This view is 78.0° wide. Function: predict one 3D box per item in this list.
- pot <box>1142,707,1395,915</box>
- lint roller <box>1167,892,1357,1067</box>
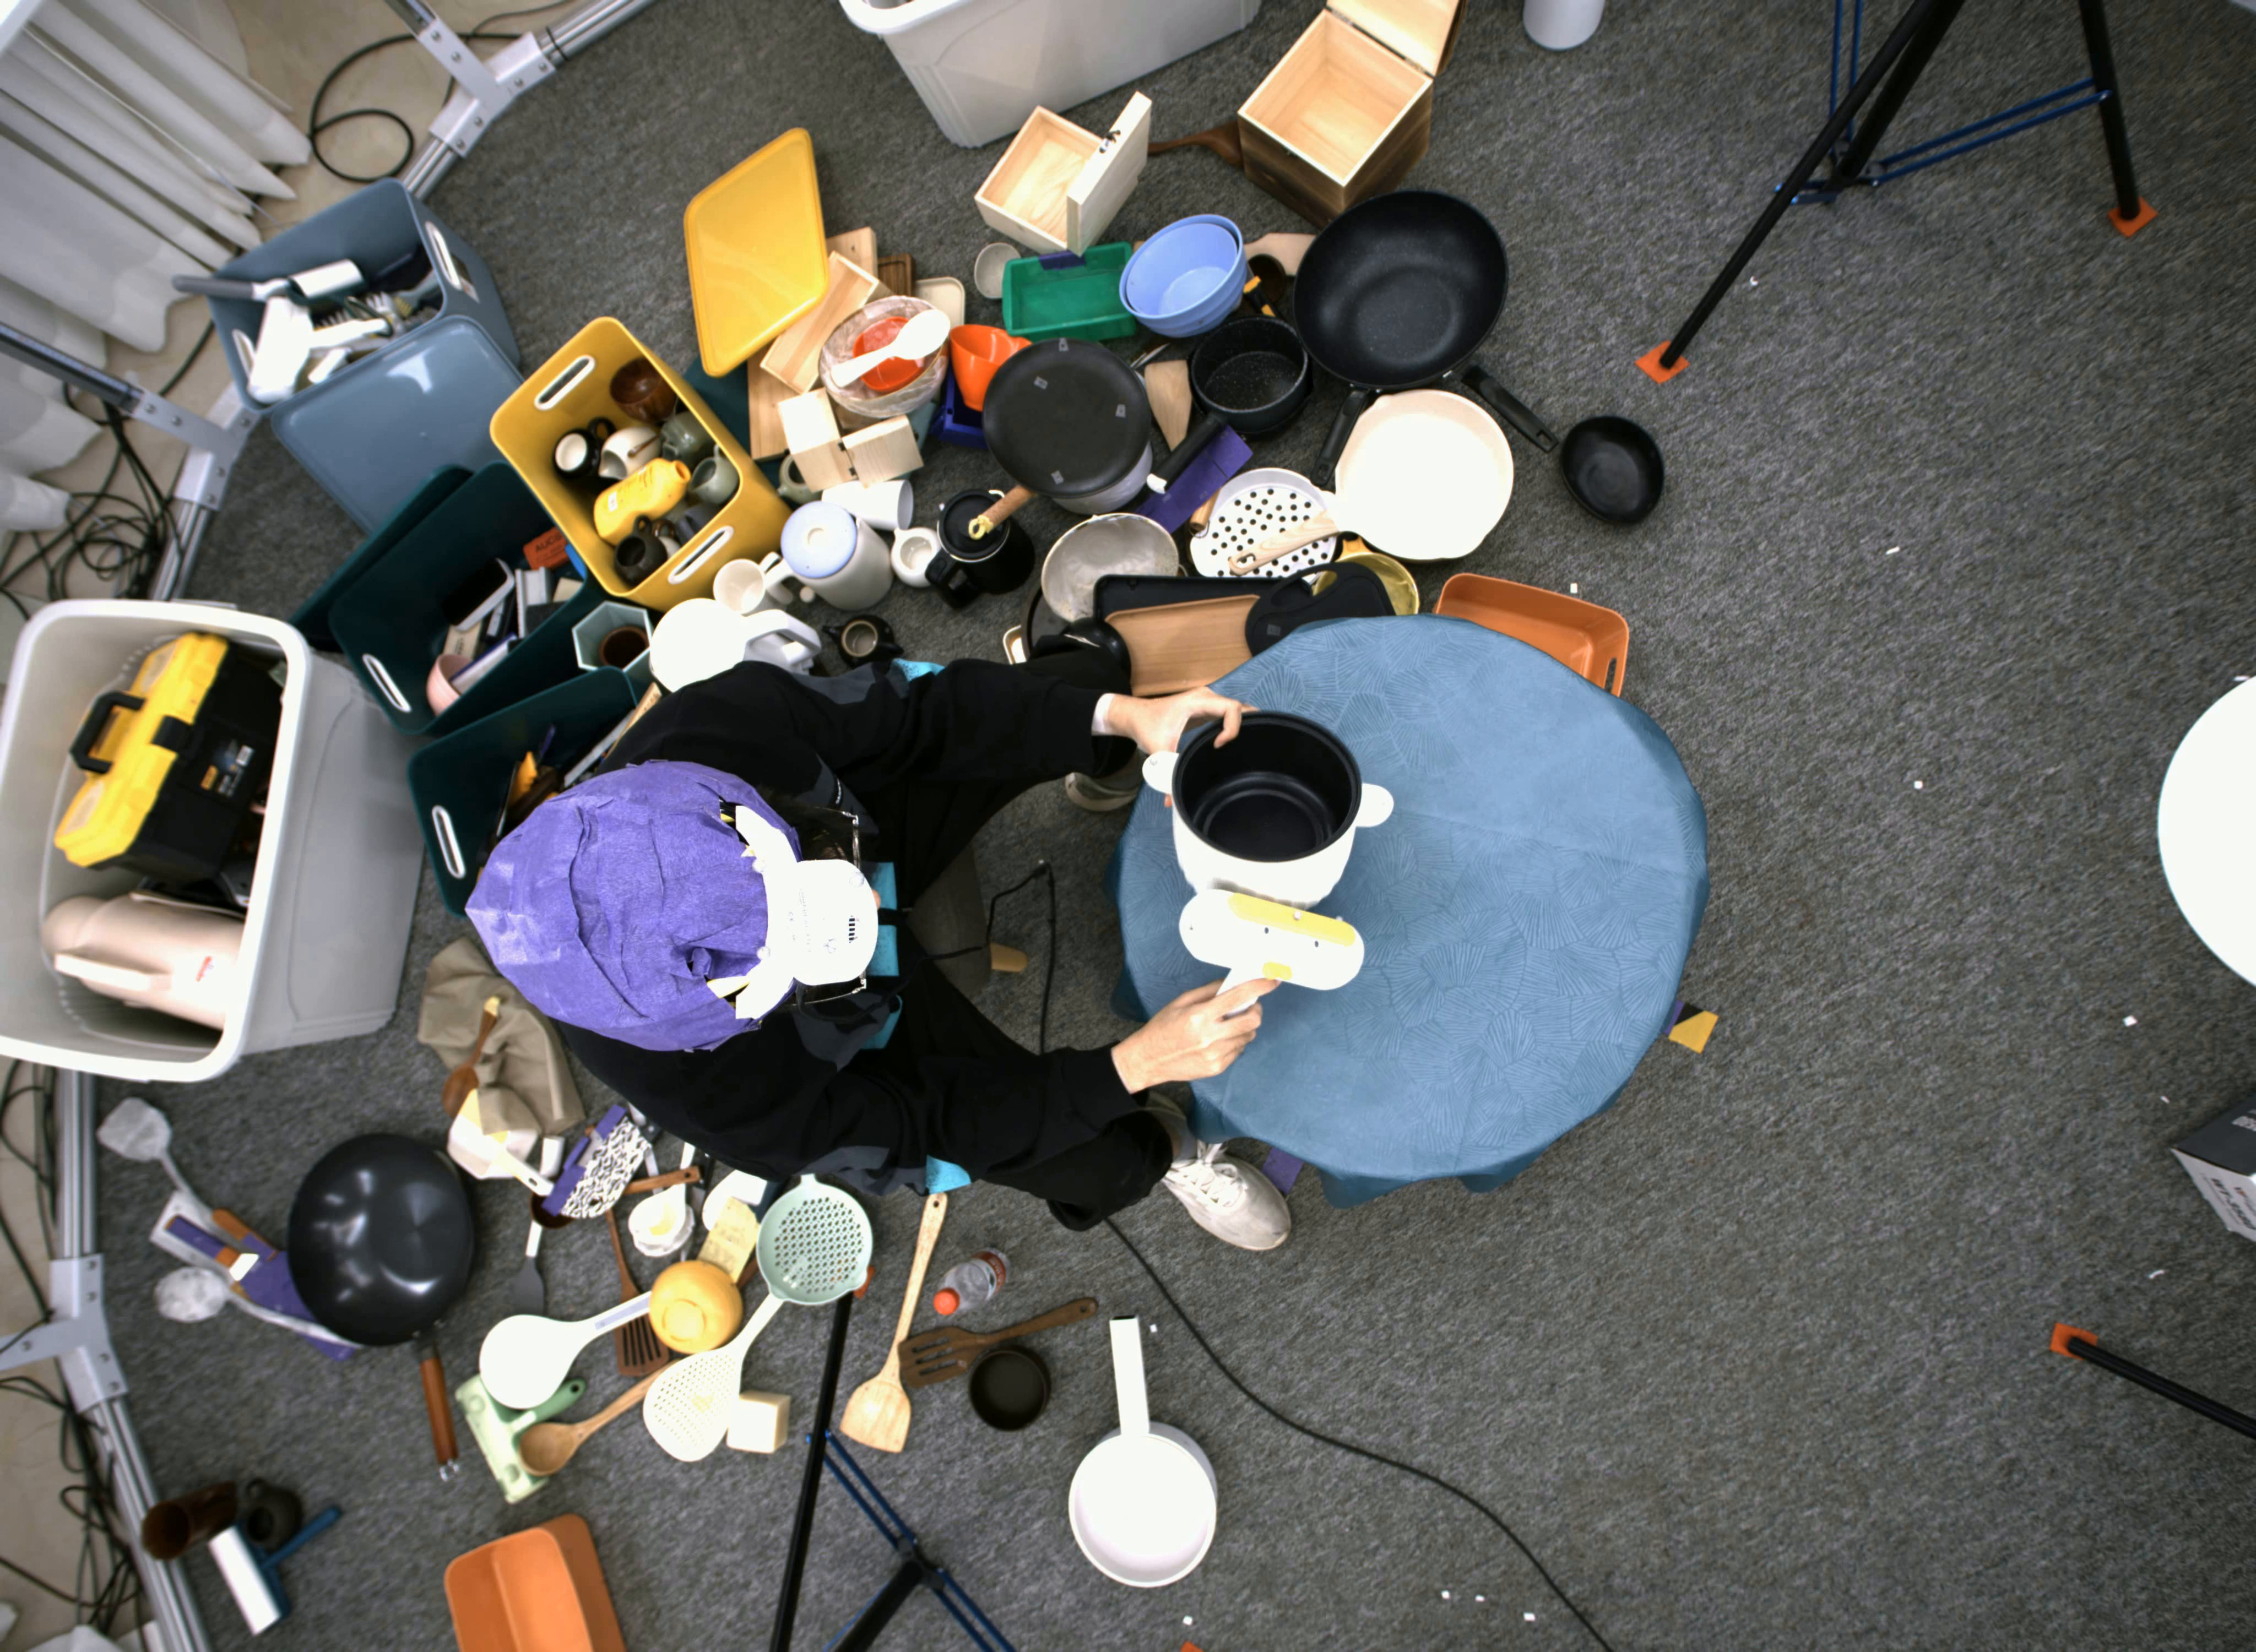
[{"bbox_3d":[0.134,-0.010,1.361,0.241,0.146,0.186,9,60,8],"label":"pot"},{"bbox_3d":[0.108,0.154,1.351,0.192,0.072,0.197,10,131,-25],"label":"lint roller"}]
